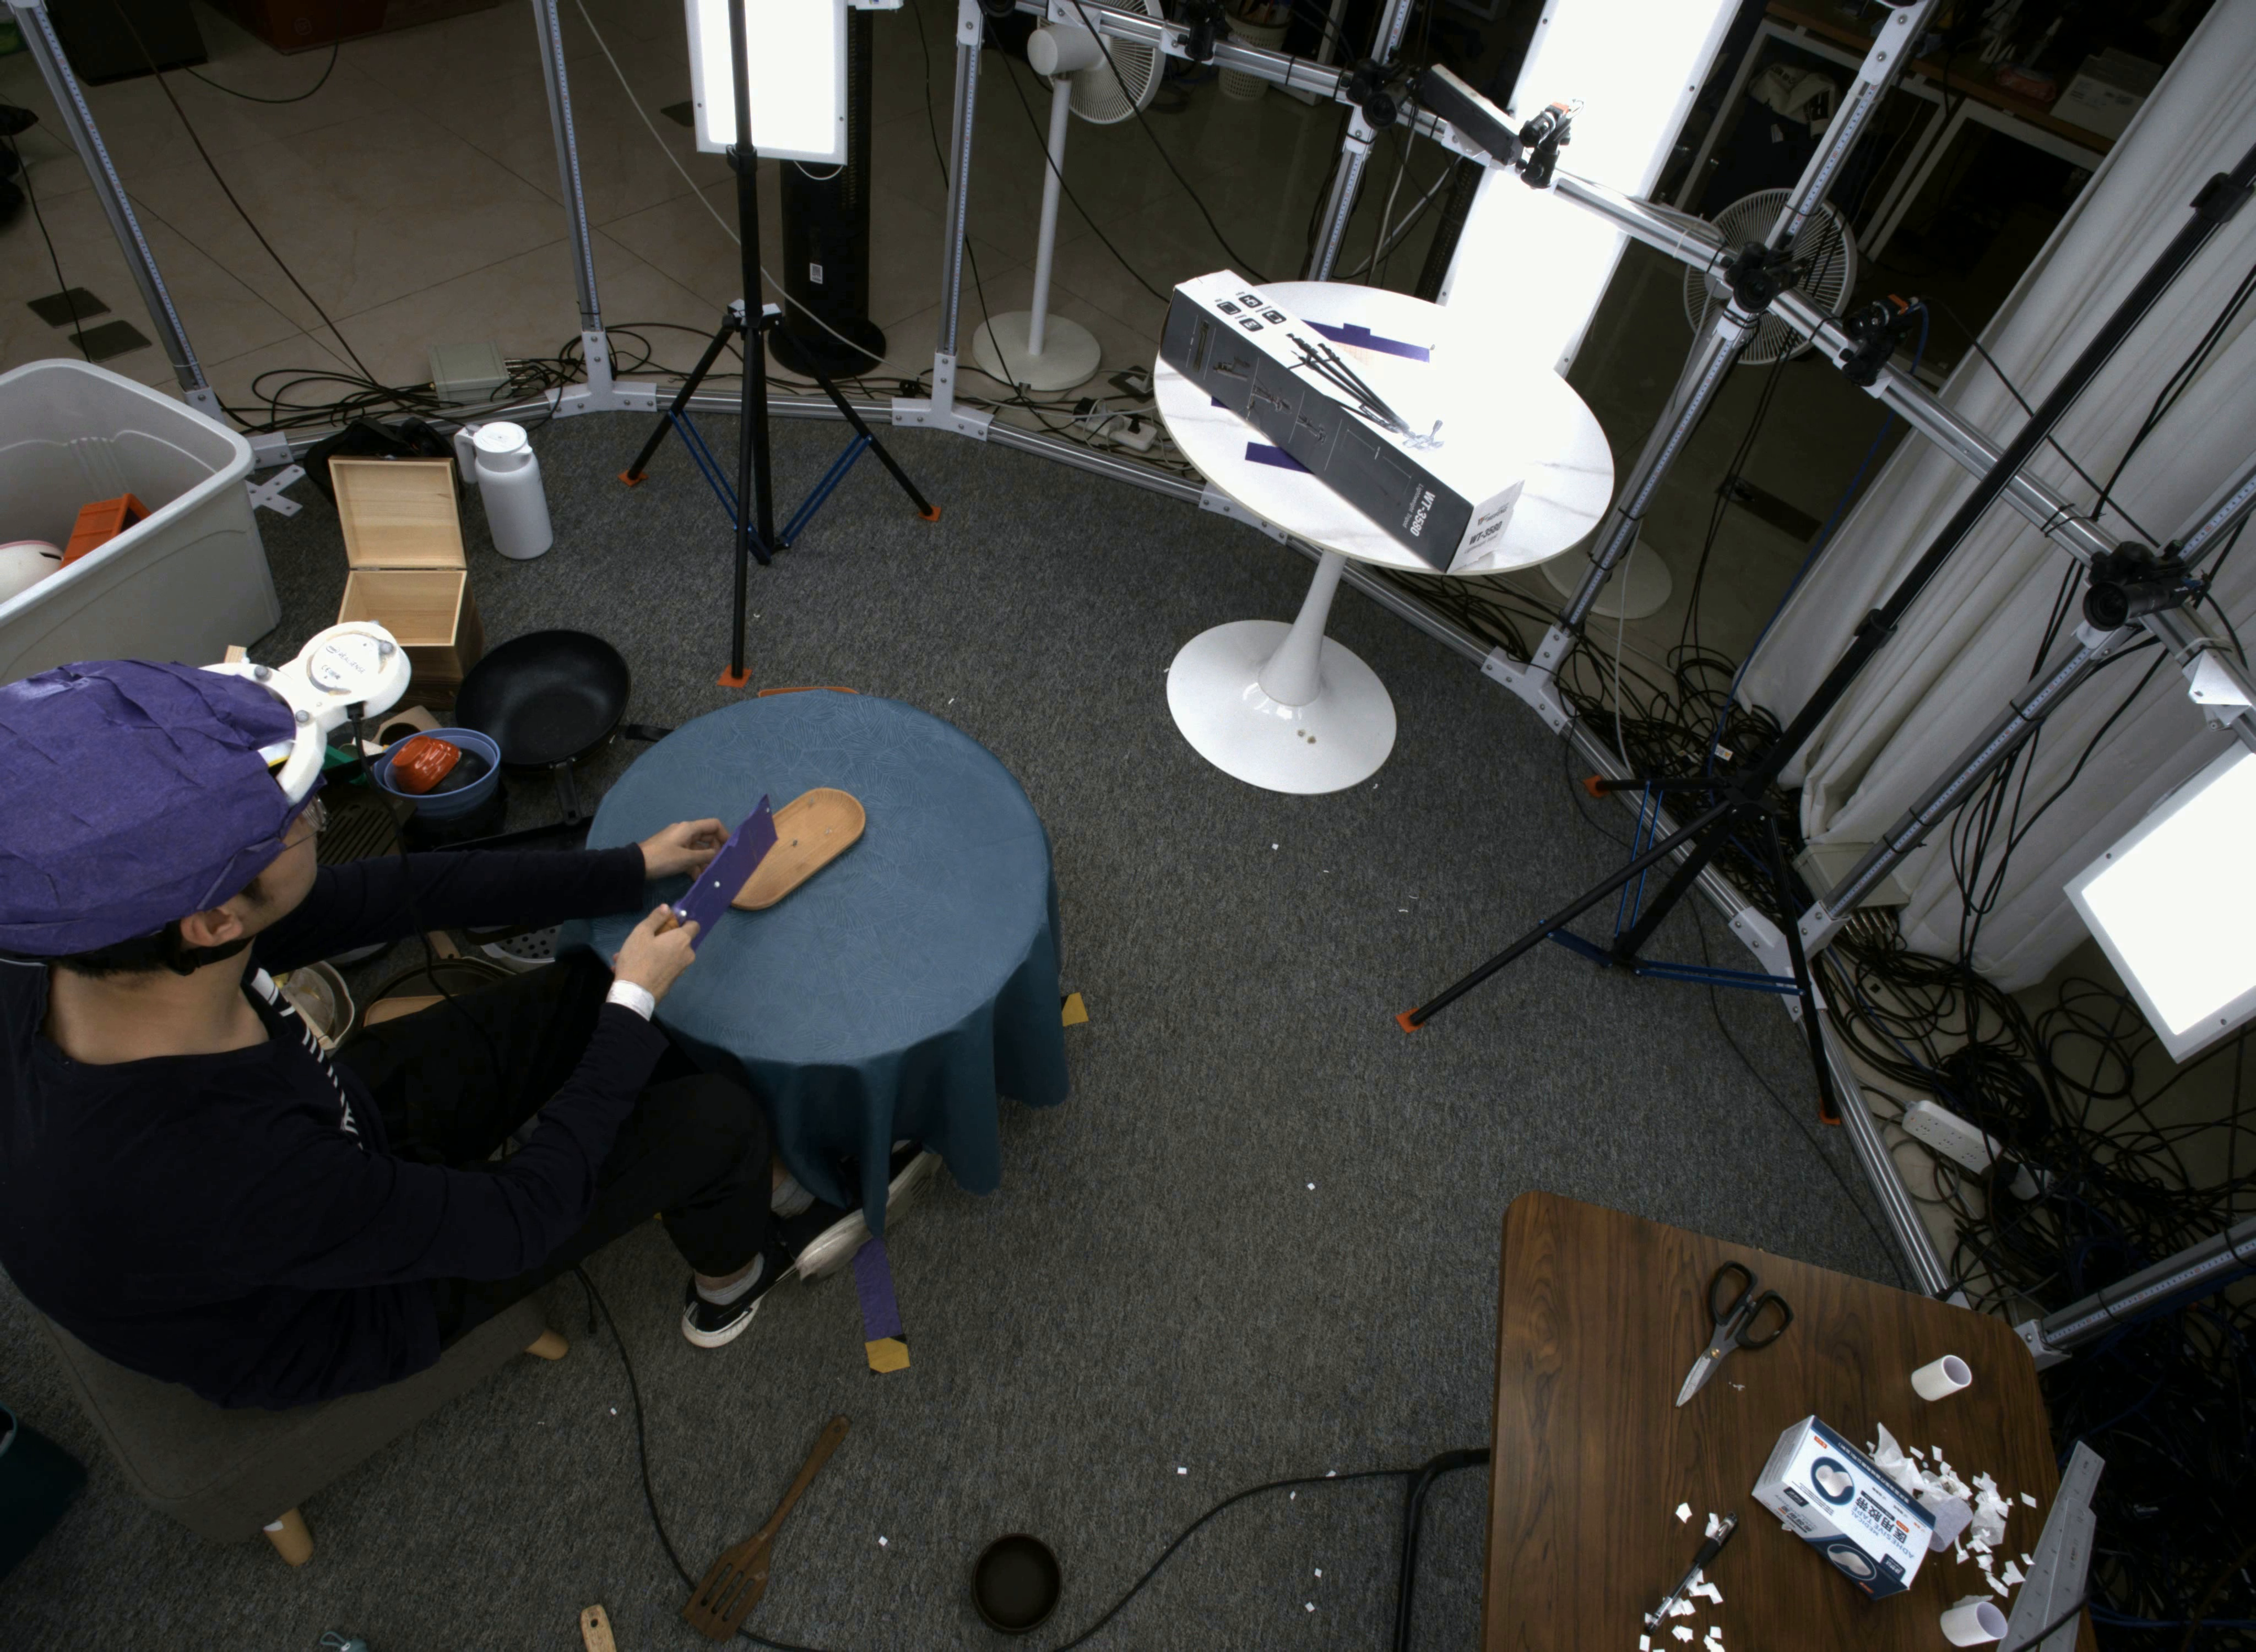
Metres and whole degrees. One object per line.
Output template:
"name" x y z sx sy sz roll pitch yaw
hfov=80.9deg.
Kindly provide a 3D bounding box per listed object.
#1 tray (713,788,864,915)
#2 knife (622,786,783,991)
"tray" -0.442 0.030 1.695 0.100 0.021 0.231 36 55 12
"knife" -0.500 0.089 1.553 0.031 0.107 0.313 17 49 14
